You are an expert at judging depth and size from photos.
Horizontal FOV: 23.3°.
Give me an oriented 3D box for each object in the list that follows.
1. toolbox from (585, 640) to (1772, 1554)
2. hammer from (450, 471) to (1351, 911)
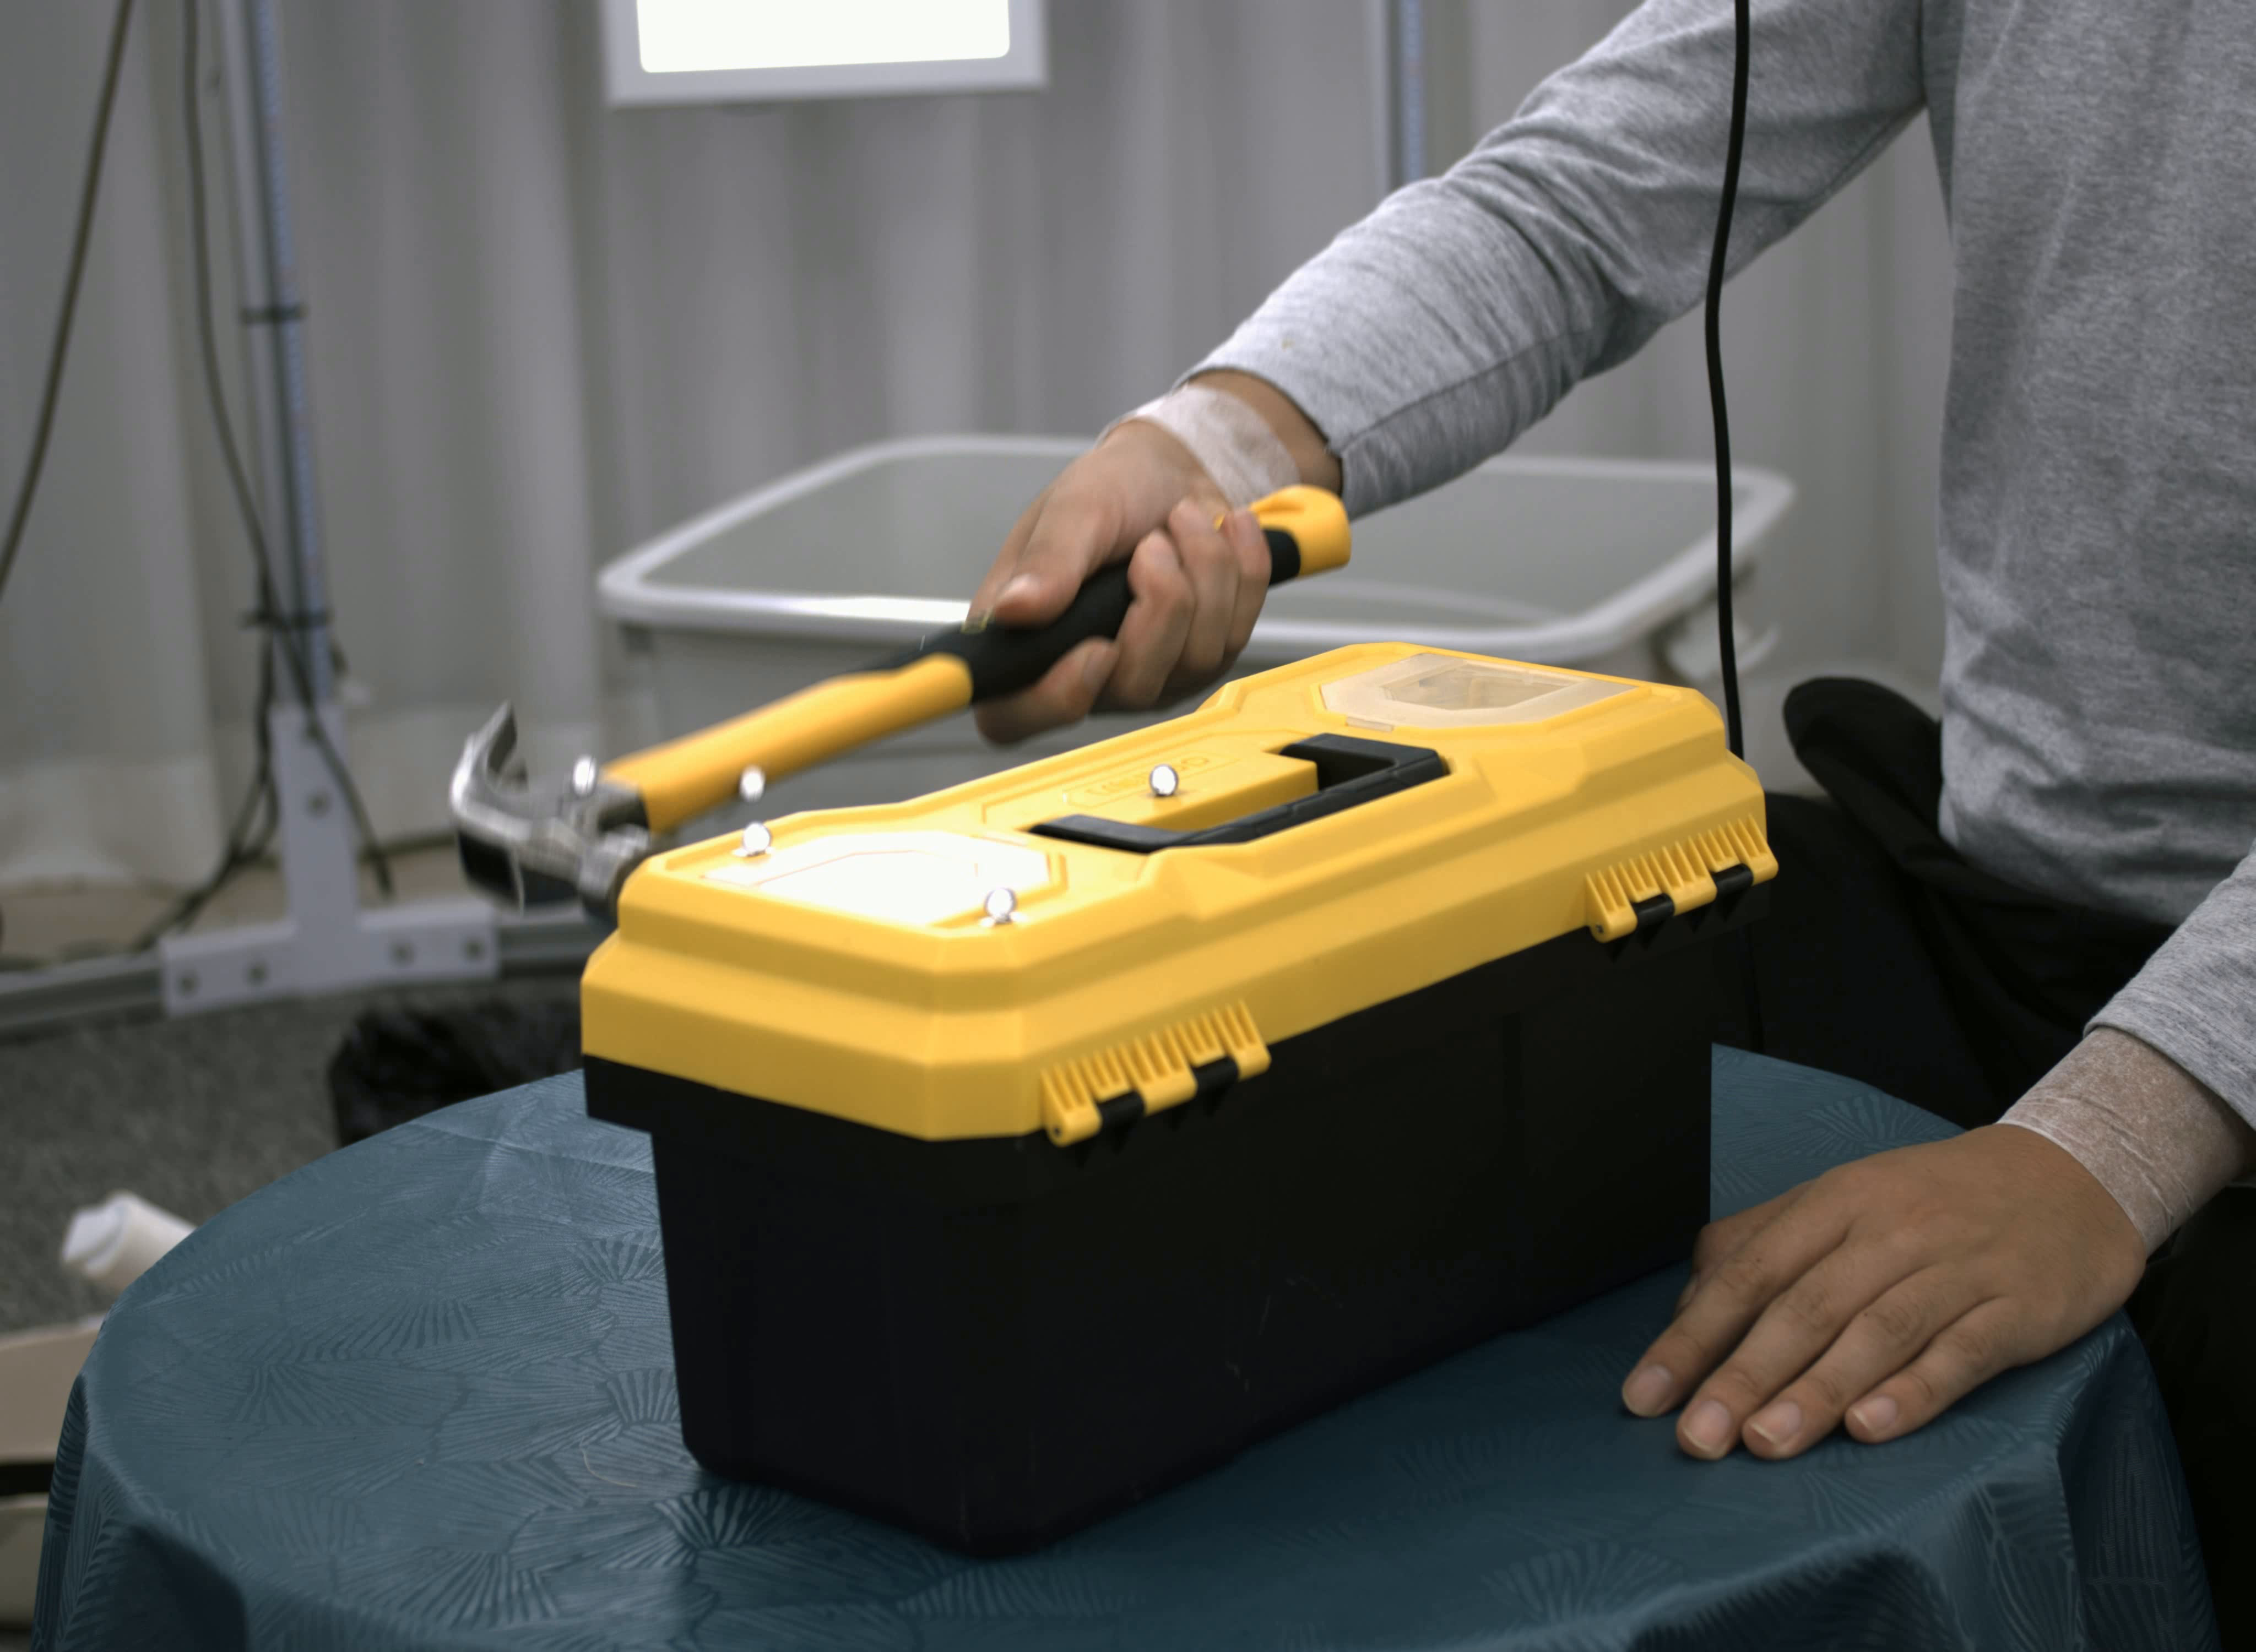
[{"bbox_3d":[0.022,0.068,1.553,0.182,0.172,0.351,10,19,43],"label":"toolbox"},{"bbox_3d":[-0.062,-0.053,1.714,0.338,0.032,0.132,-23,25,-35],"label":"hammer"}]
